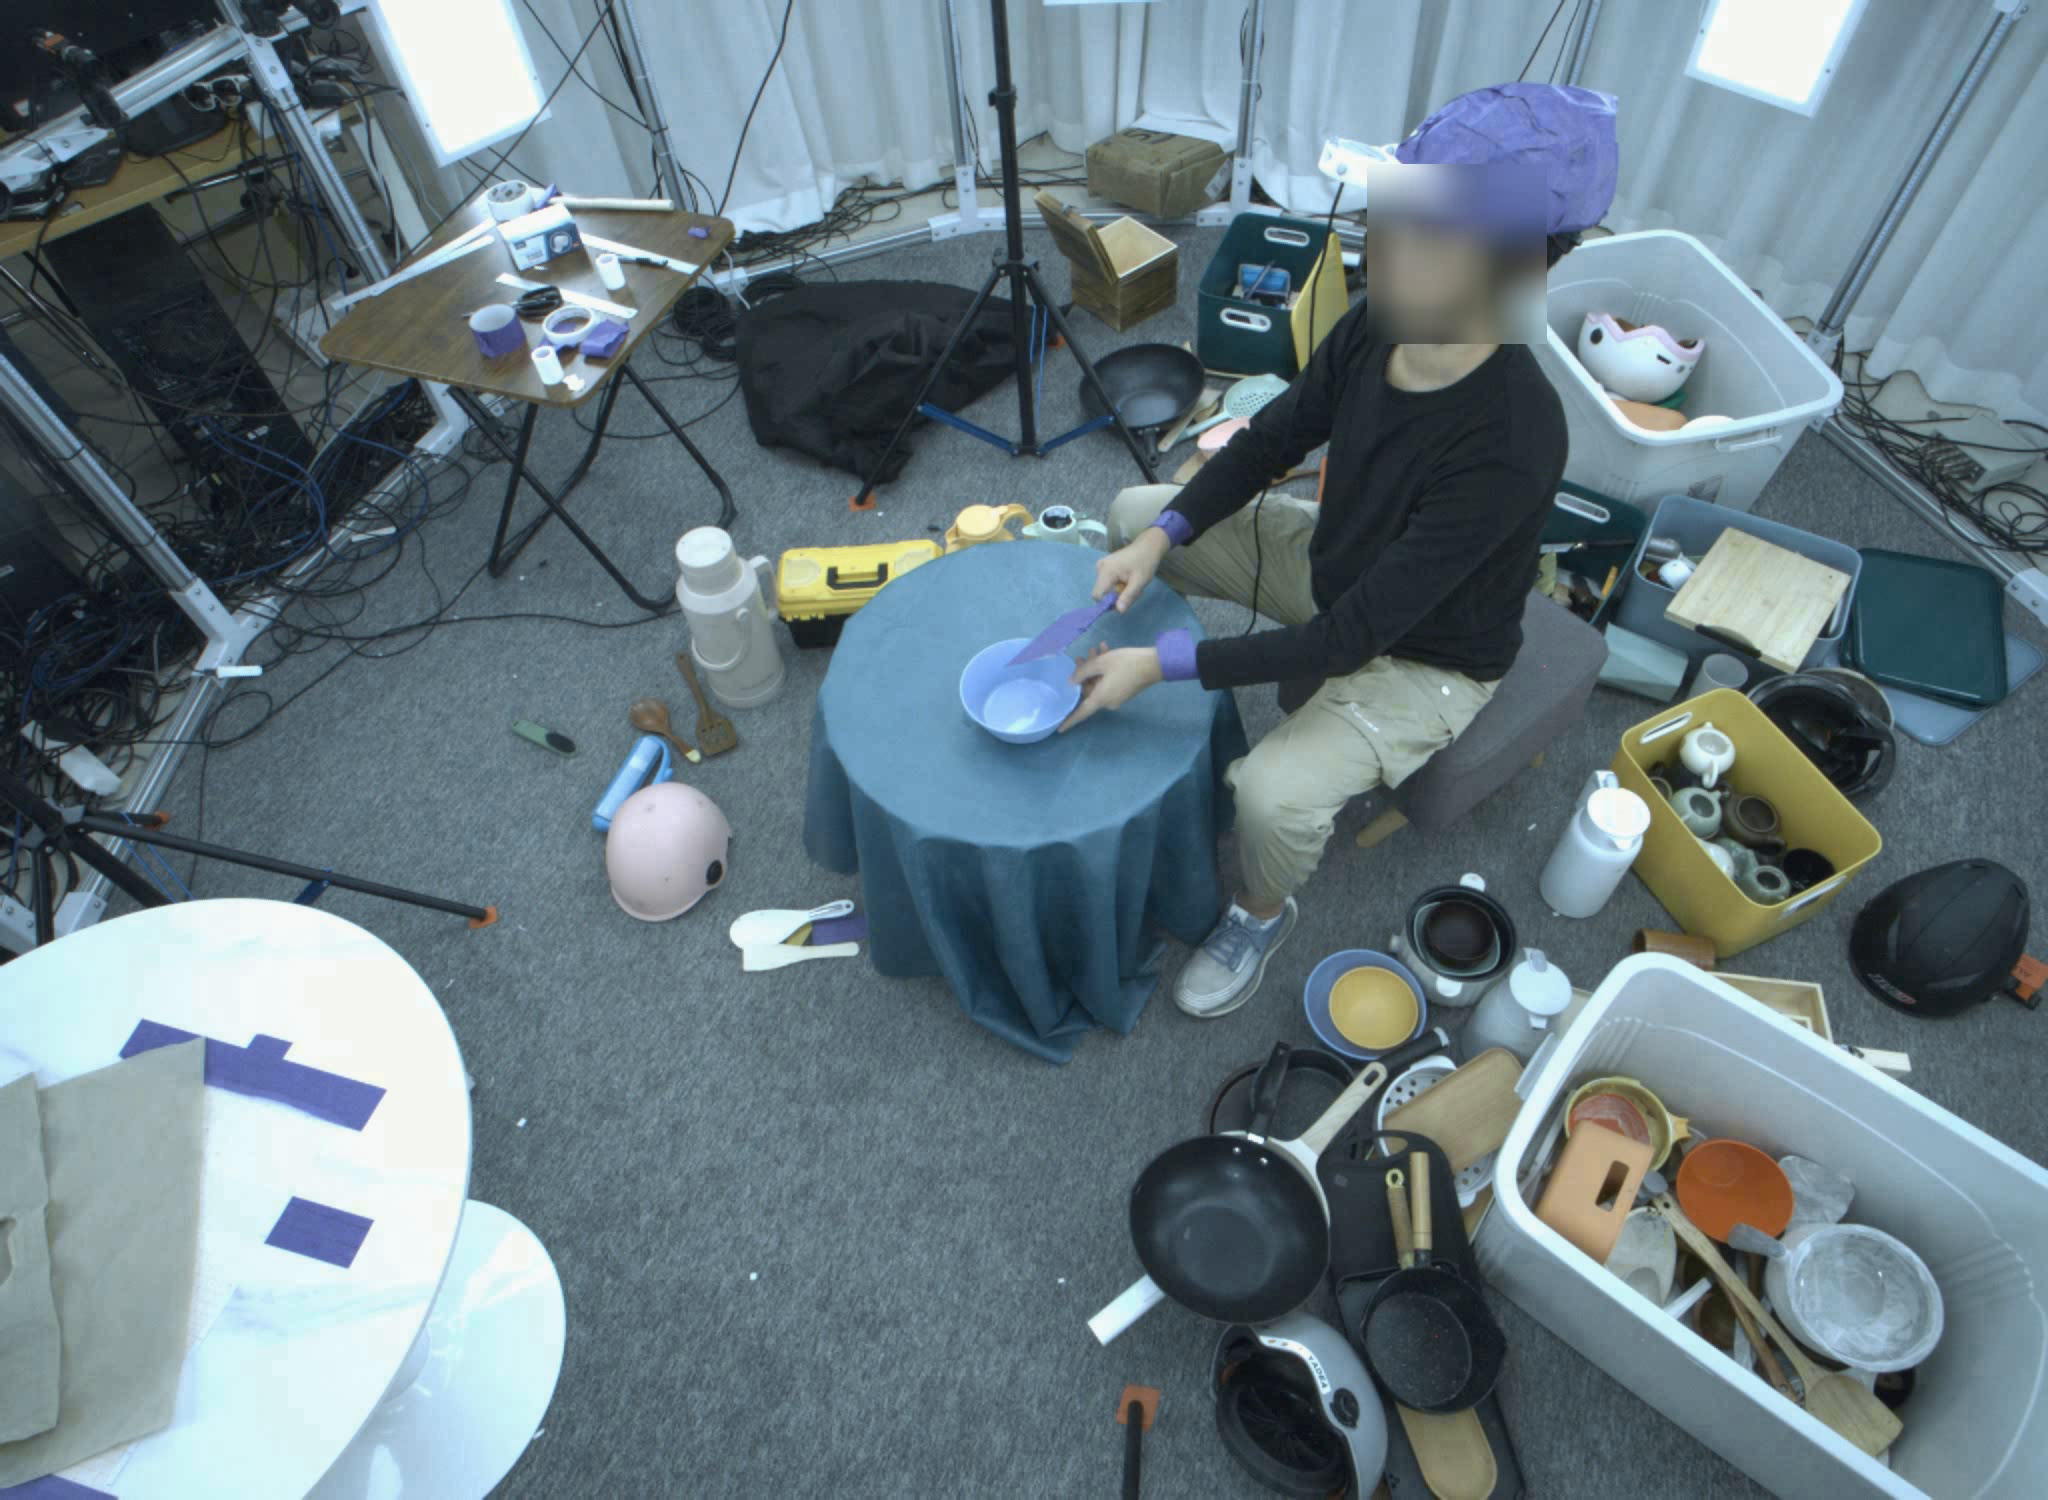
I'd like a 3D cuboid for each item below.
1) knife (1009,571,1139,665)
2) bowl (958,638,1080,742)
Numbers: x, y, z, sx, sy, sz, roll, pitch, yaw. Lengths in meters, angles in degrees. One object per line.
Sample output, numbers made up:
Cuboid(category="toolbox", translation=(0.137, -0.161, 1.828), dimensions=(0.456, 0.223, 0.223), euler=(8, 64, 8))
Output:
Cuboid(category="knife", translation=(0.073, -0.195, 1.789), dimensions=(0.102, 0.032, 0.317), euler=(-9, 20, 31))
Cuboid(category="bowl", translation=(-0.007, -0.078, 1.796), dimensions=(0.176, 0.071, 0.174), euler=(0, 56, 1))
